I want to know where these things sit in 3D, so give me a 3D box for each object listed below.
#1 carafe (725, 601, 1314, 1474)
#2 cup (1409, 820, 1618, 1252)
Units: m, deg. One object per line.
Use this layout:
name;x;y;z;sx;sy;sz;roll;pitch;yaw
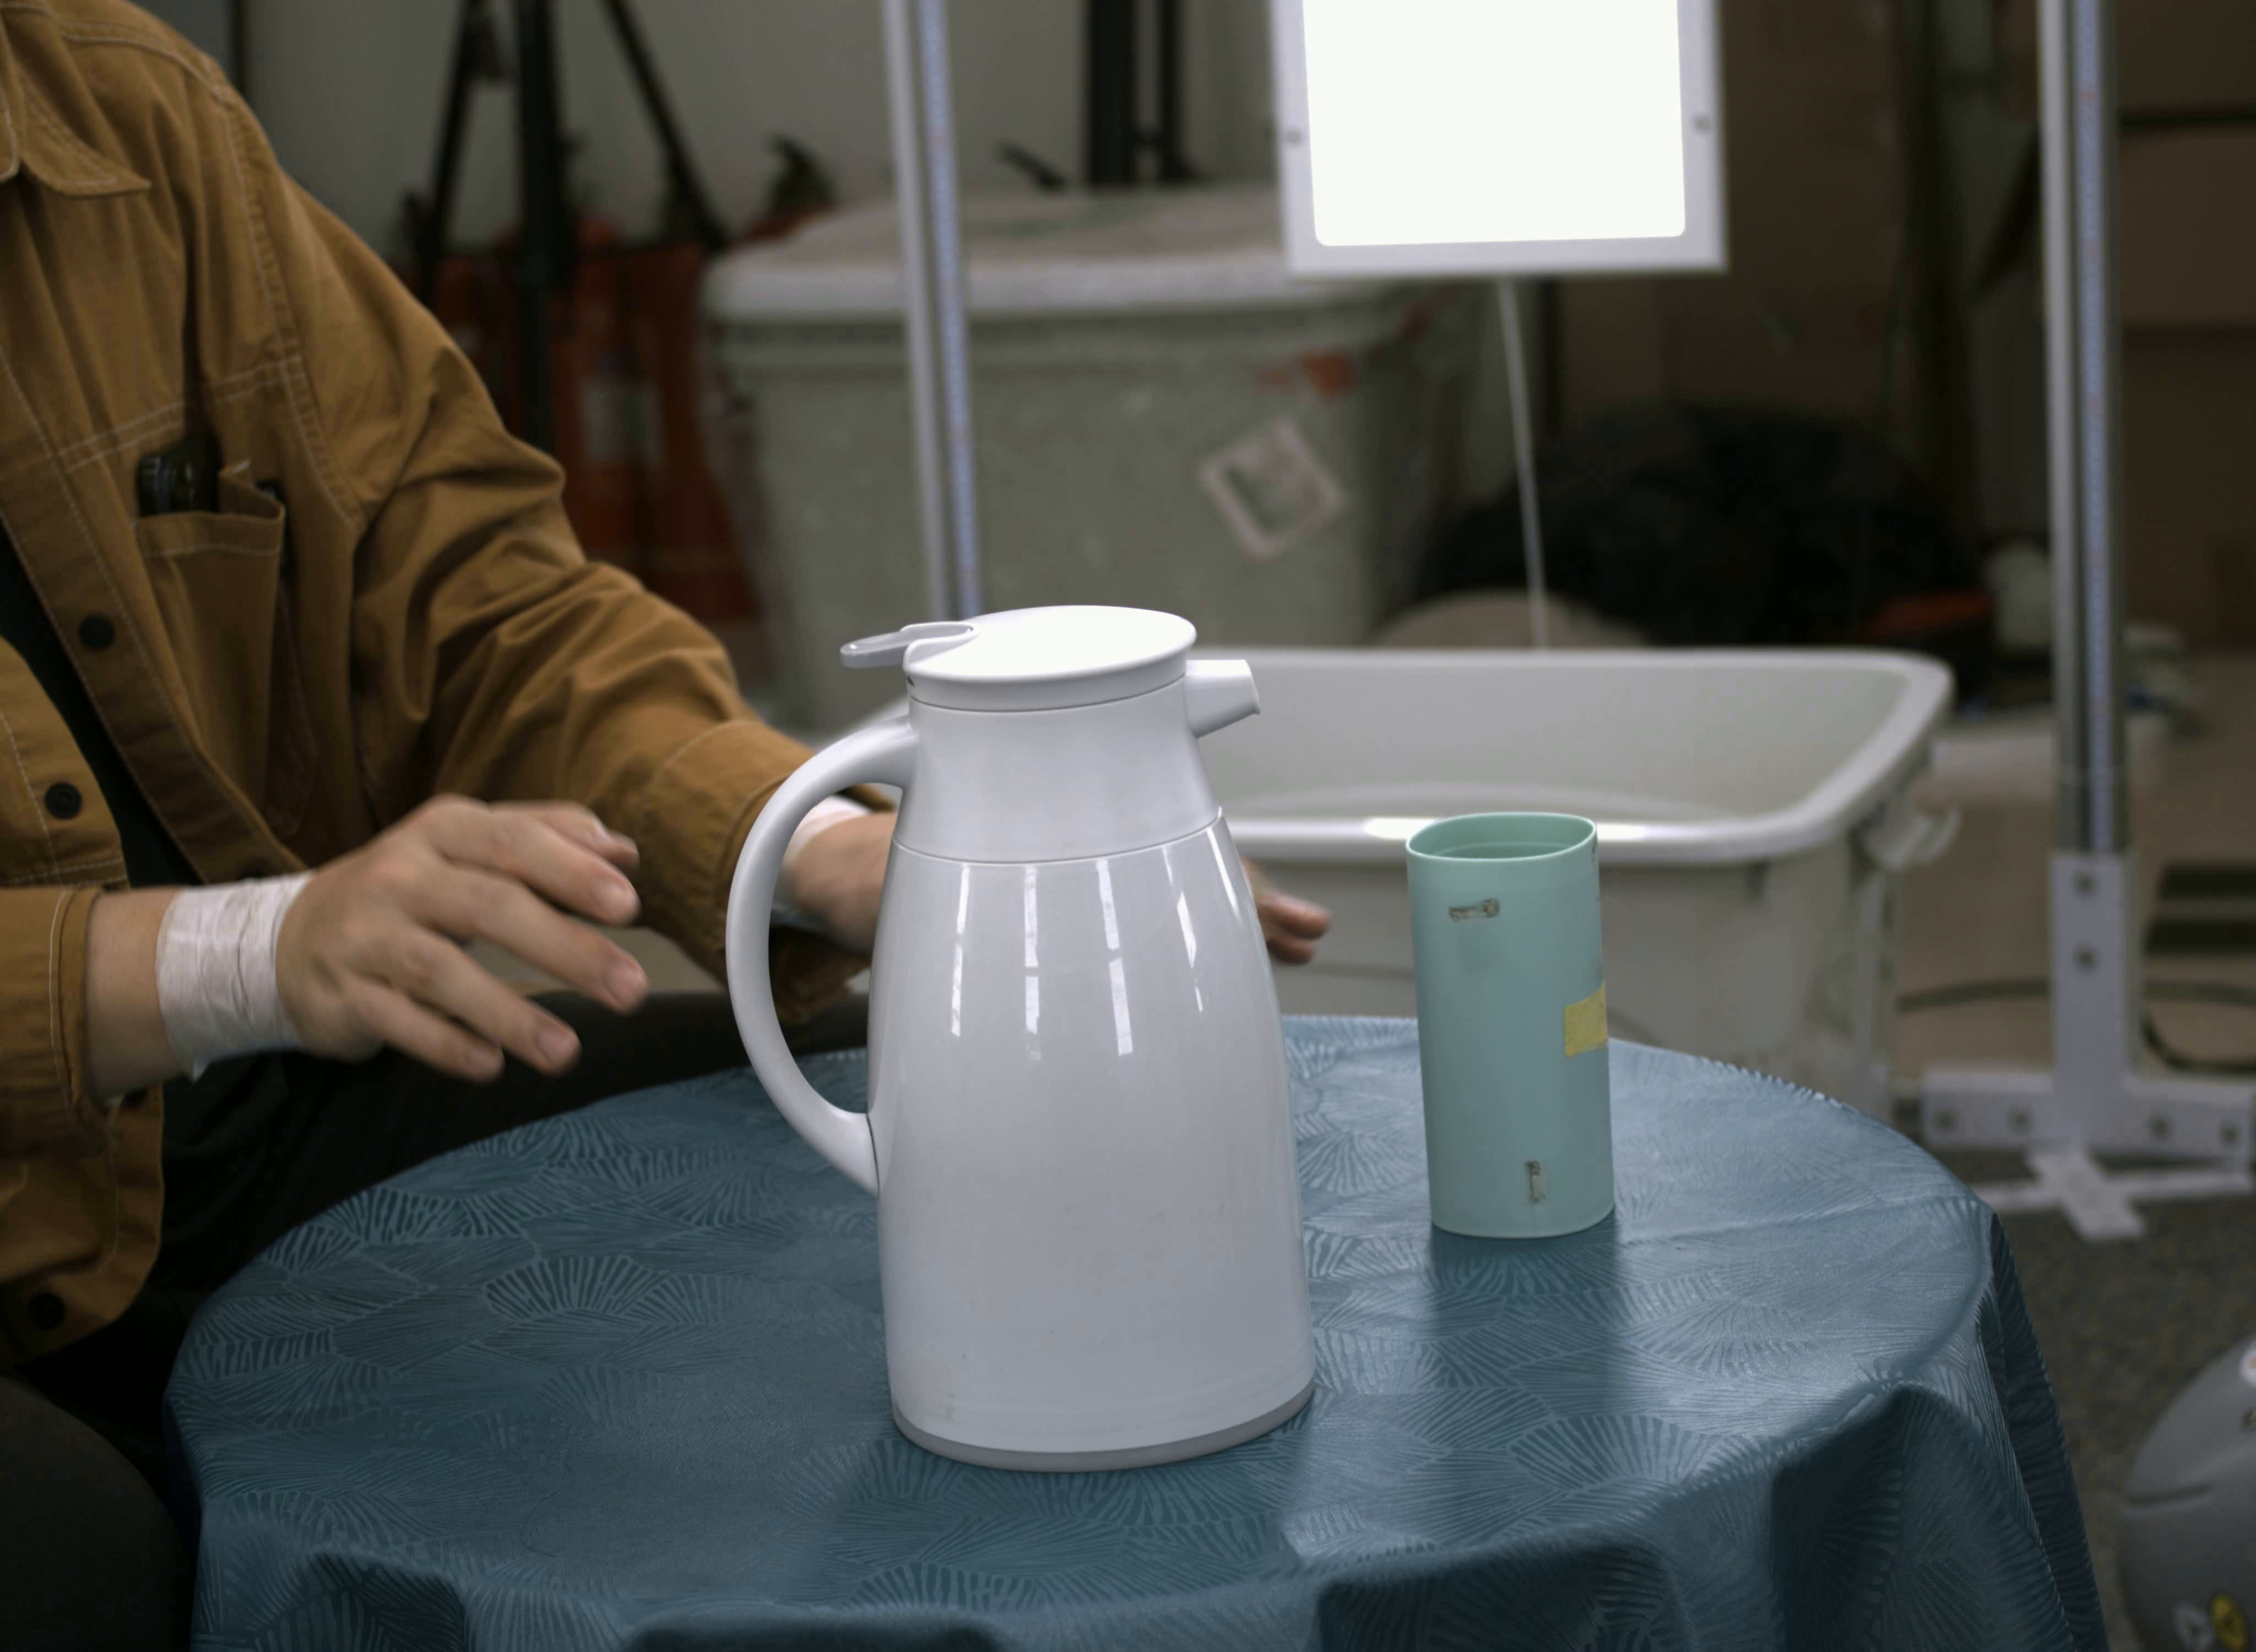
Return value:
carafe;-0.036;0.059;1.666;0.167;0.249;0.133;-6;14;-3
cup;0.128;0.069;1.826;0.066;0.133;0.066;-4;14;0
